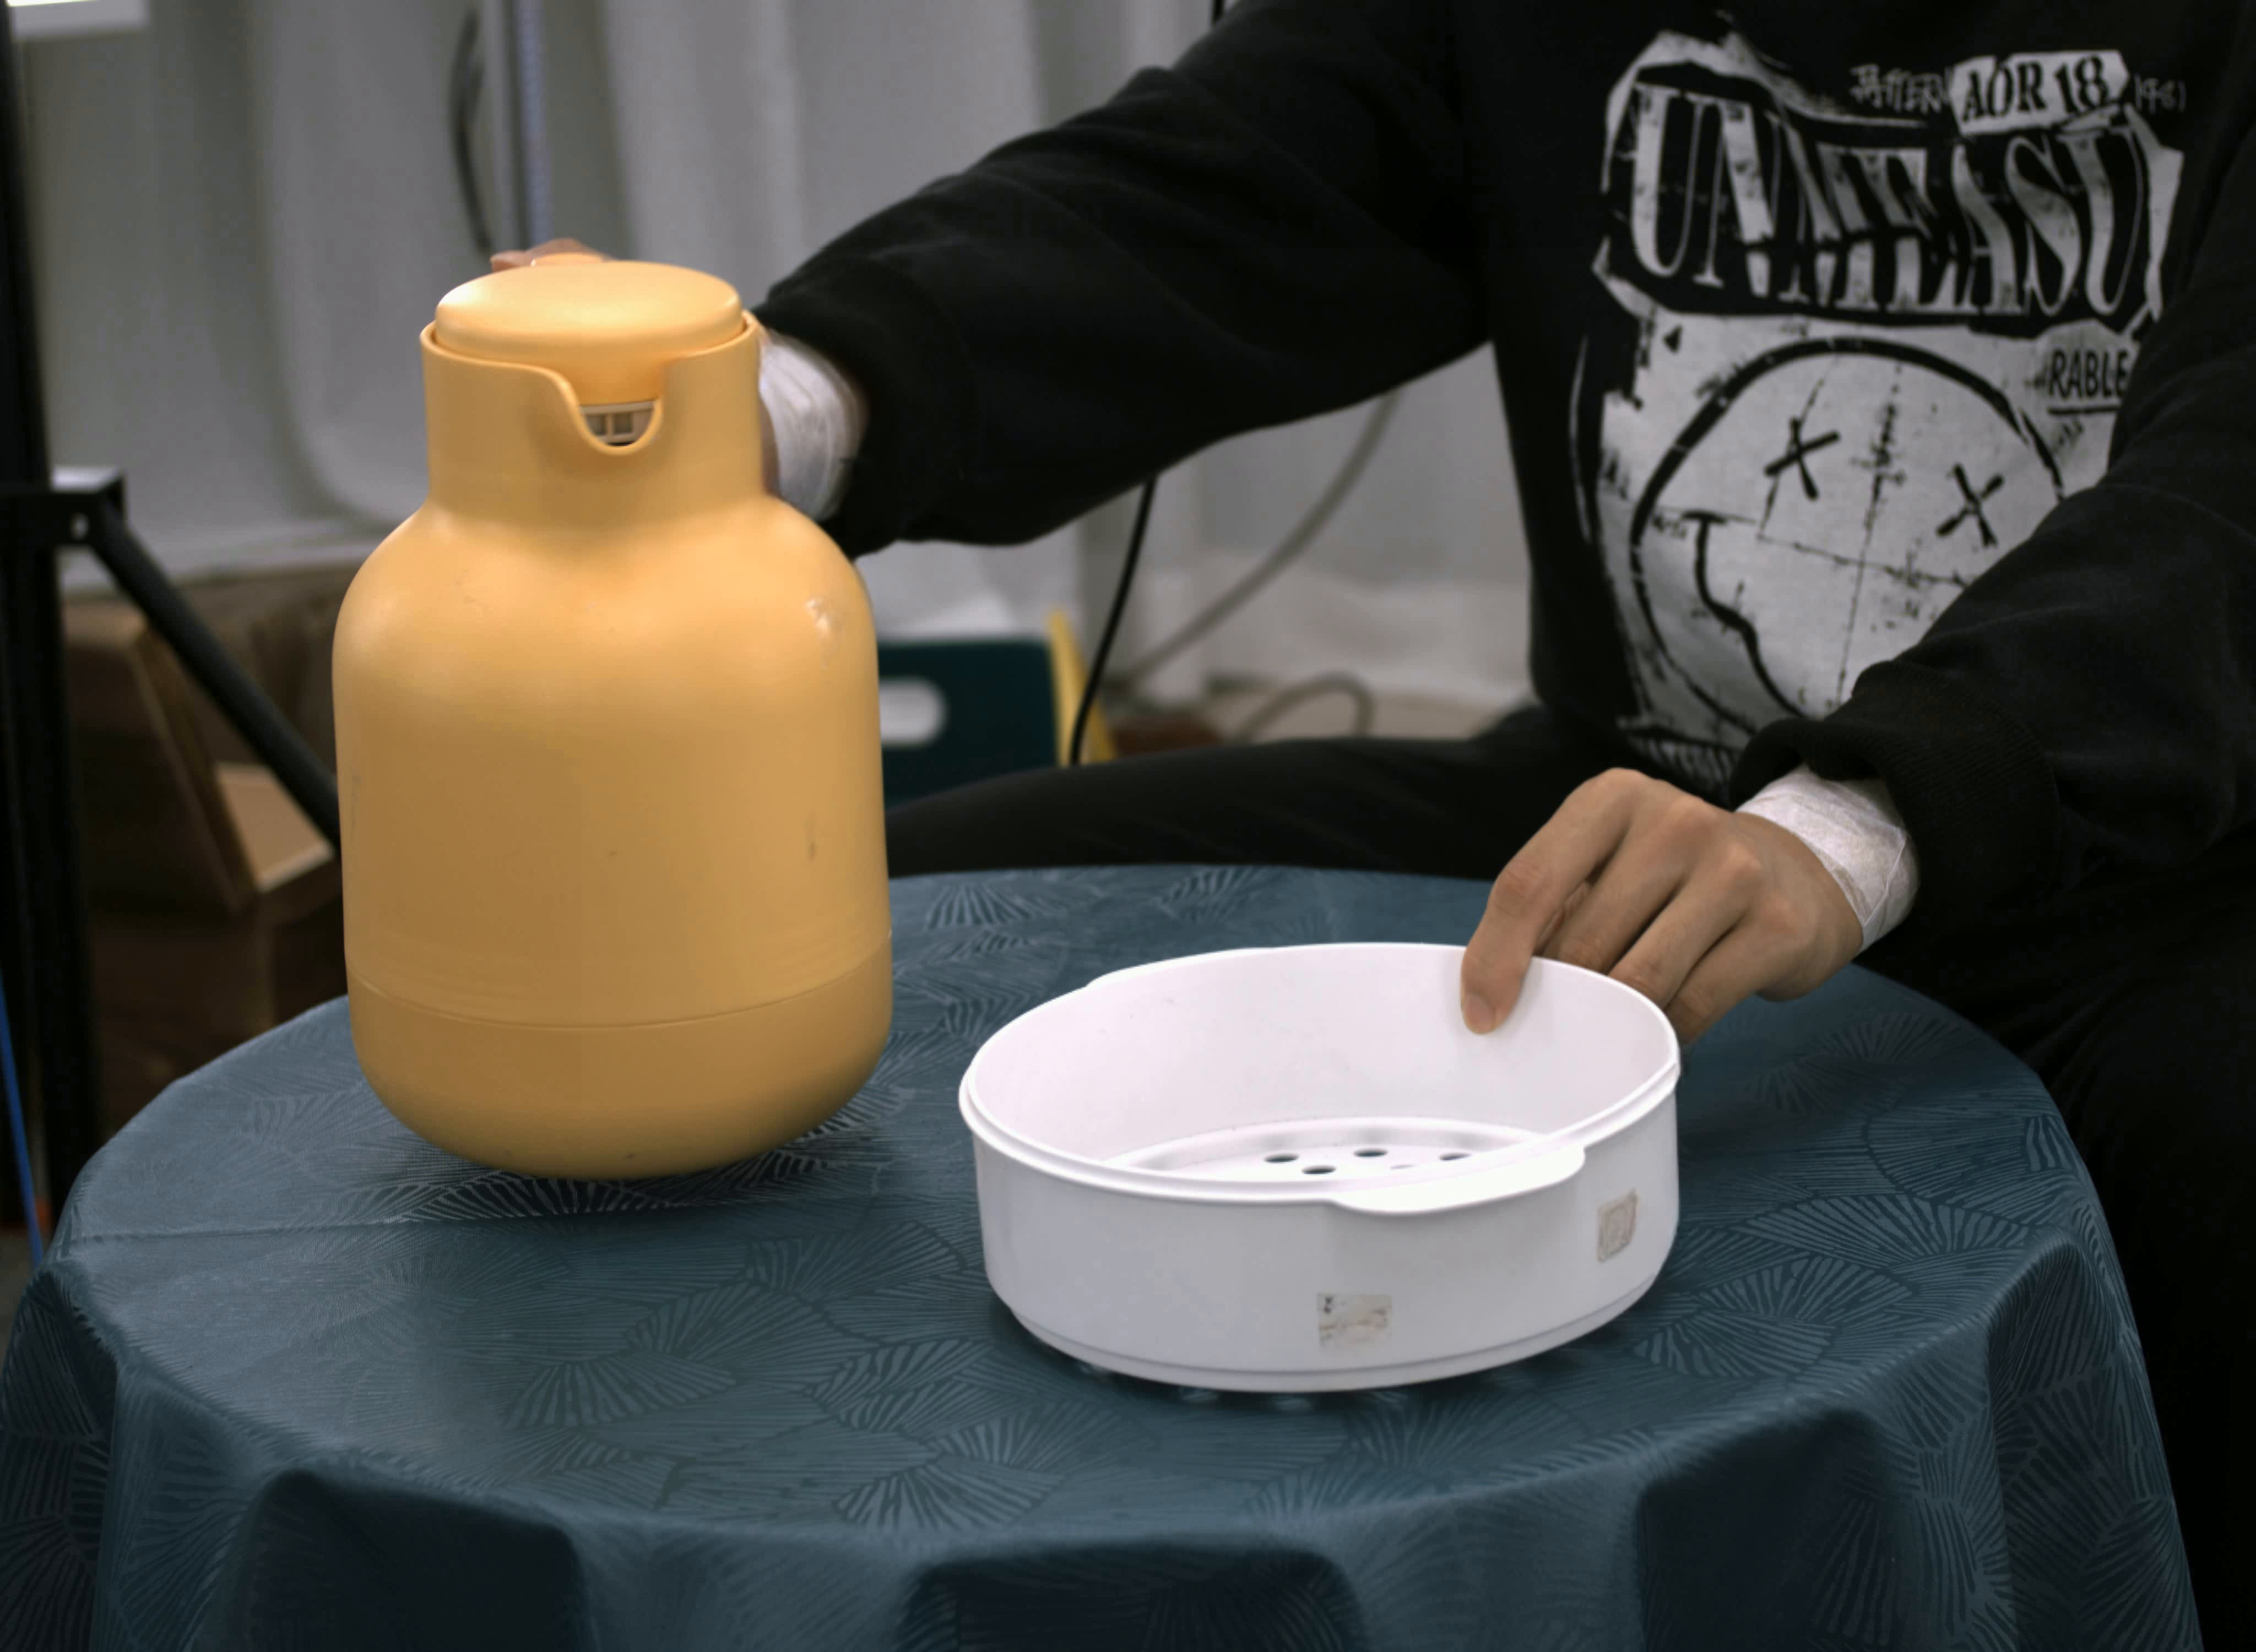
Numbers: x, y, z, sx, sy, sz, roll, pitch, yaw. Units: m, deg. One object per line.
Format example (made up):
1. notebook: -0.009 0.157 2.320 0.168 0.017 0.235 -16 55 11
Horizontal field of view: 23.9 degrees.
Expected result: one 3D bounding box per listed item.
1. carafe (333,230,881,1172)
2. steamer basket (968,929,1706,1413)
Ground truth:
1. carafe: -0.155 -0.045 1.593 0.161 0.260 0.205 -1 20 -9
2. steamer basket: 0.058 0.094 1.455 0.198 0.069 0.235 -10 20 -17
